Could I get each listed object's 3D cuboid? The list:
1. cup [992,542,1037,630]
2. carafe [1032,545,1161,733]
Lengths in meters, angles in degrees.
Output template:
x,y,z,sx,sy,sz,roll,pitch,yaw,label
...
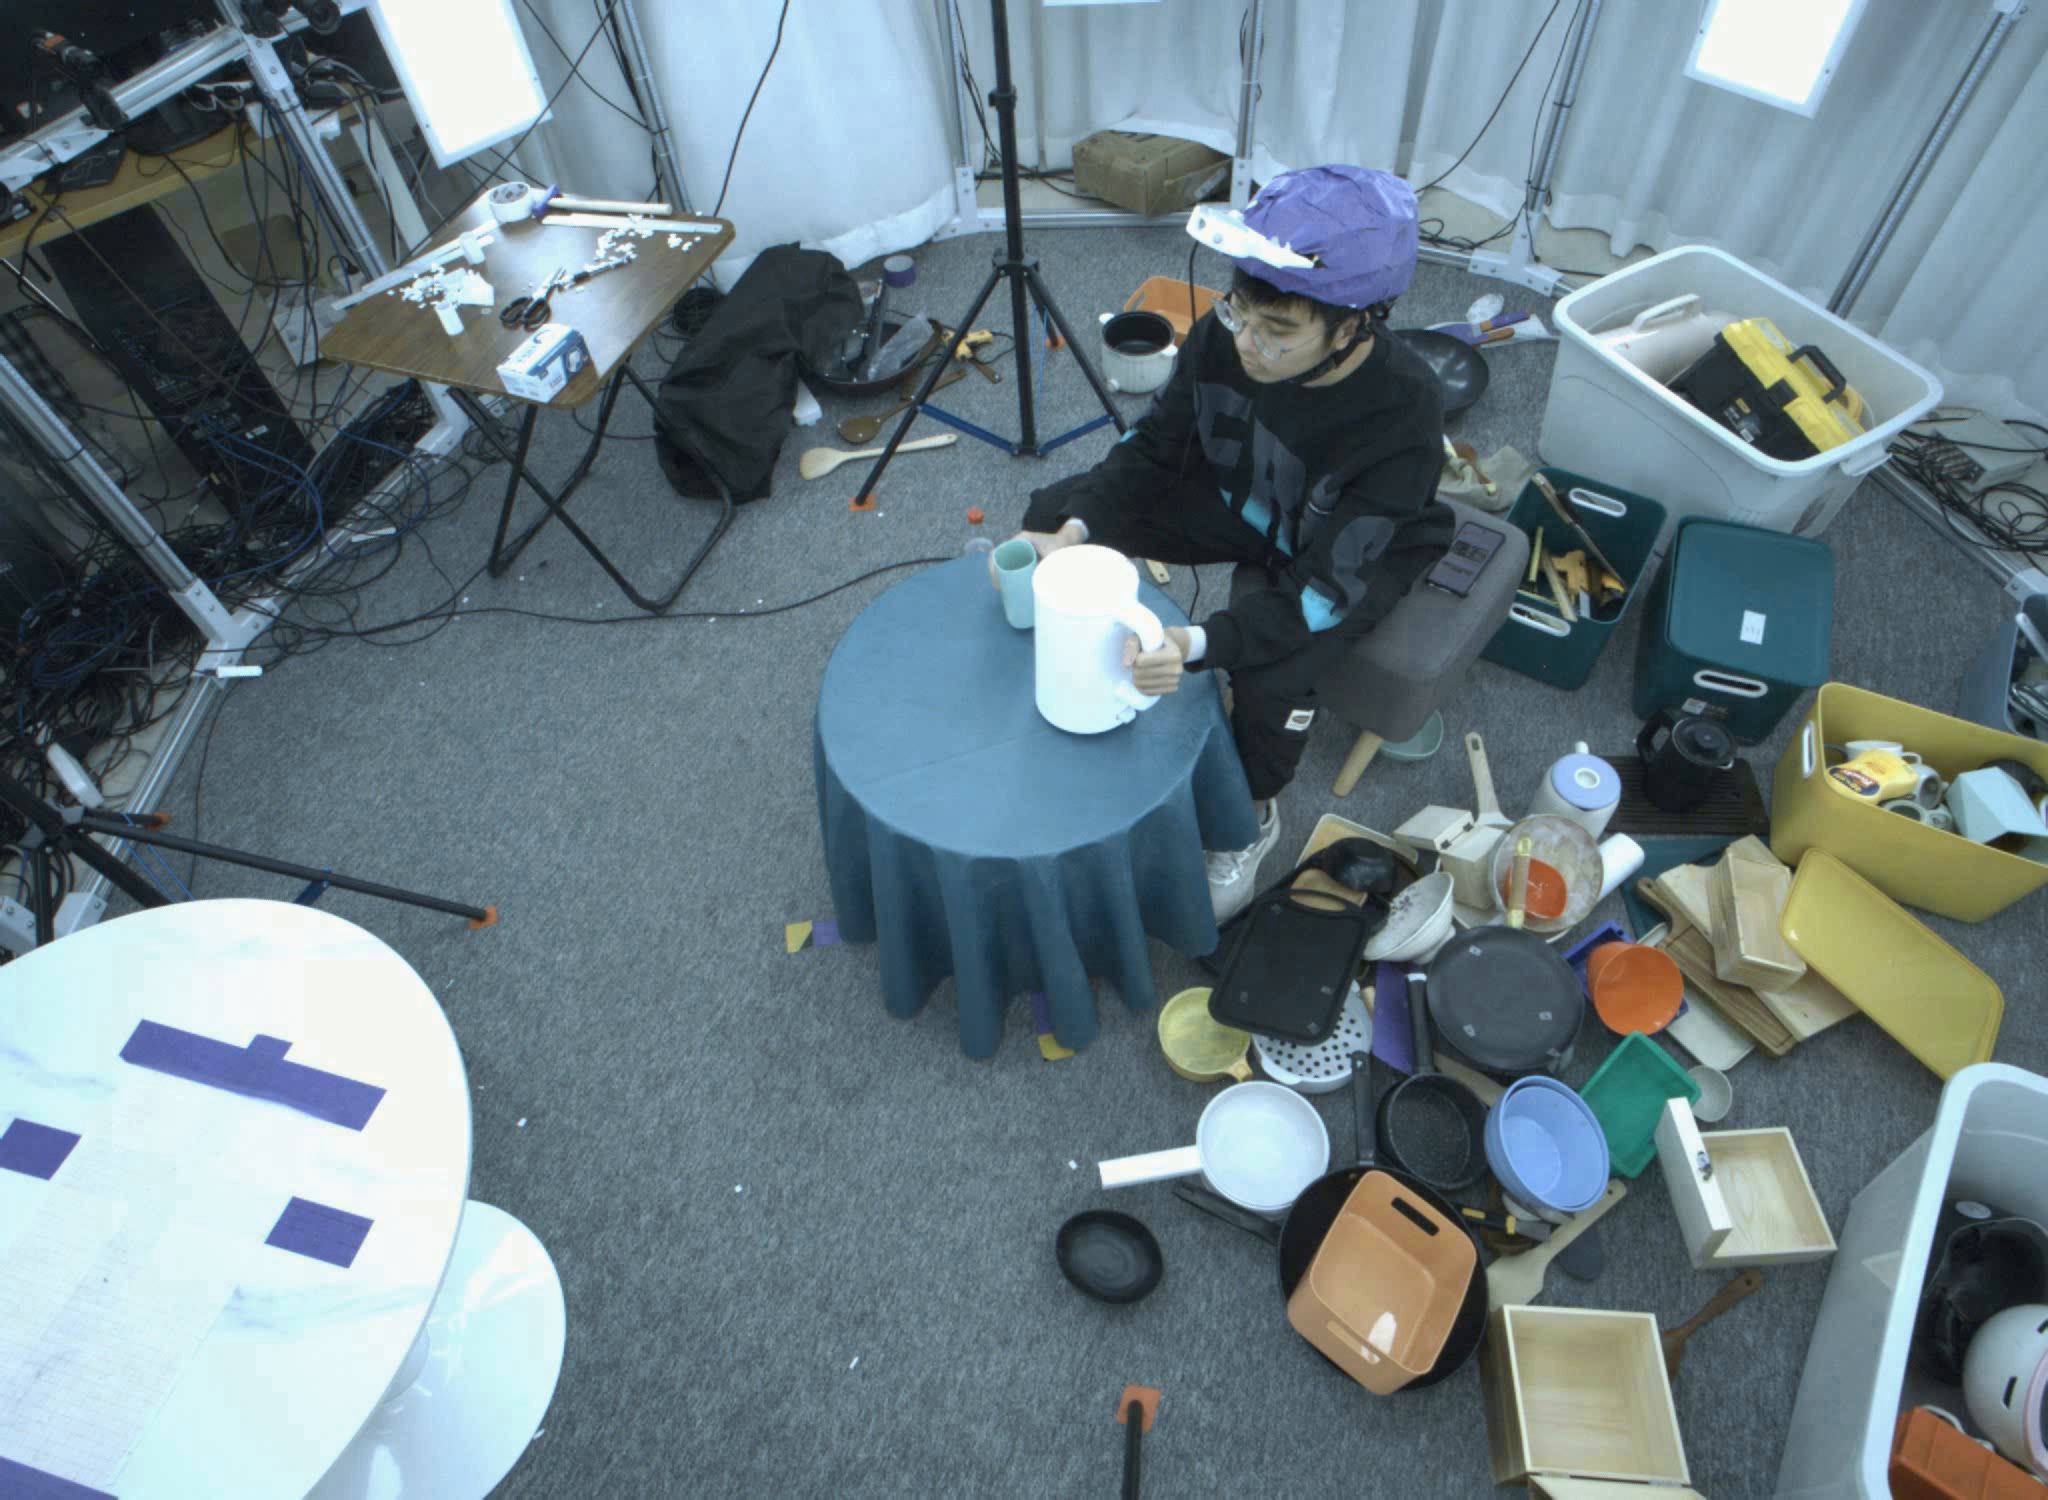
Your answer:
x,y,z,sx,sy,sz,roll,pitch,yaw,label
-0.007,-0.248,1.858,0.066,0.134,0.066,-4,56,7,cup
0.103,-0.140,1.726,0.153,0.243,0.209,-38,58,-24,carafe
